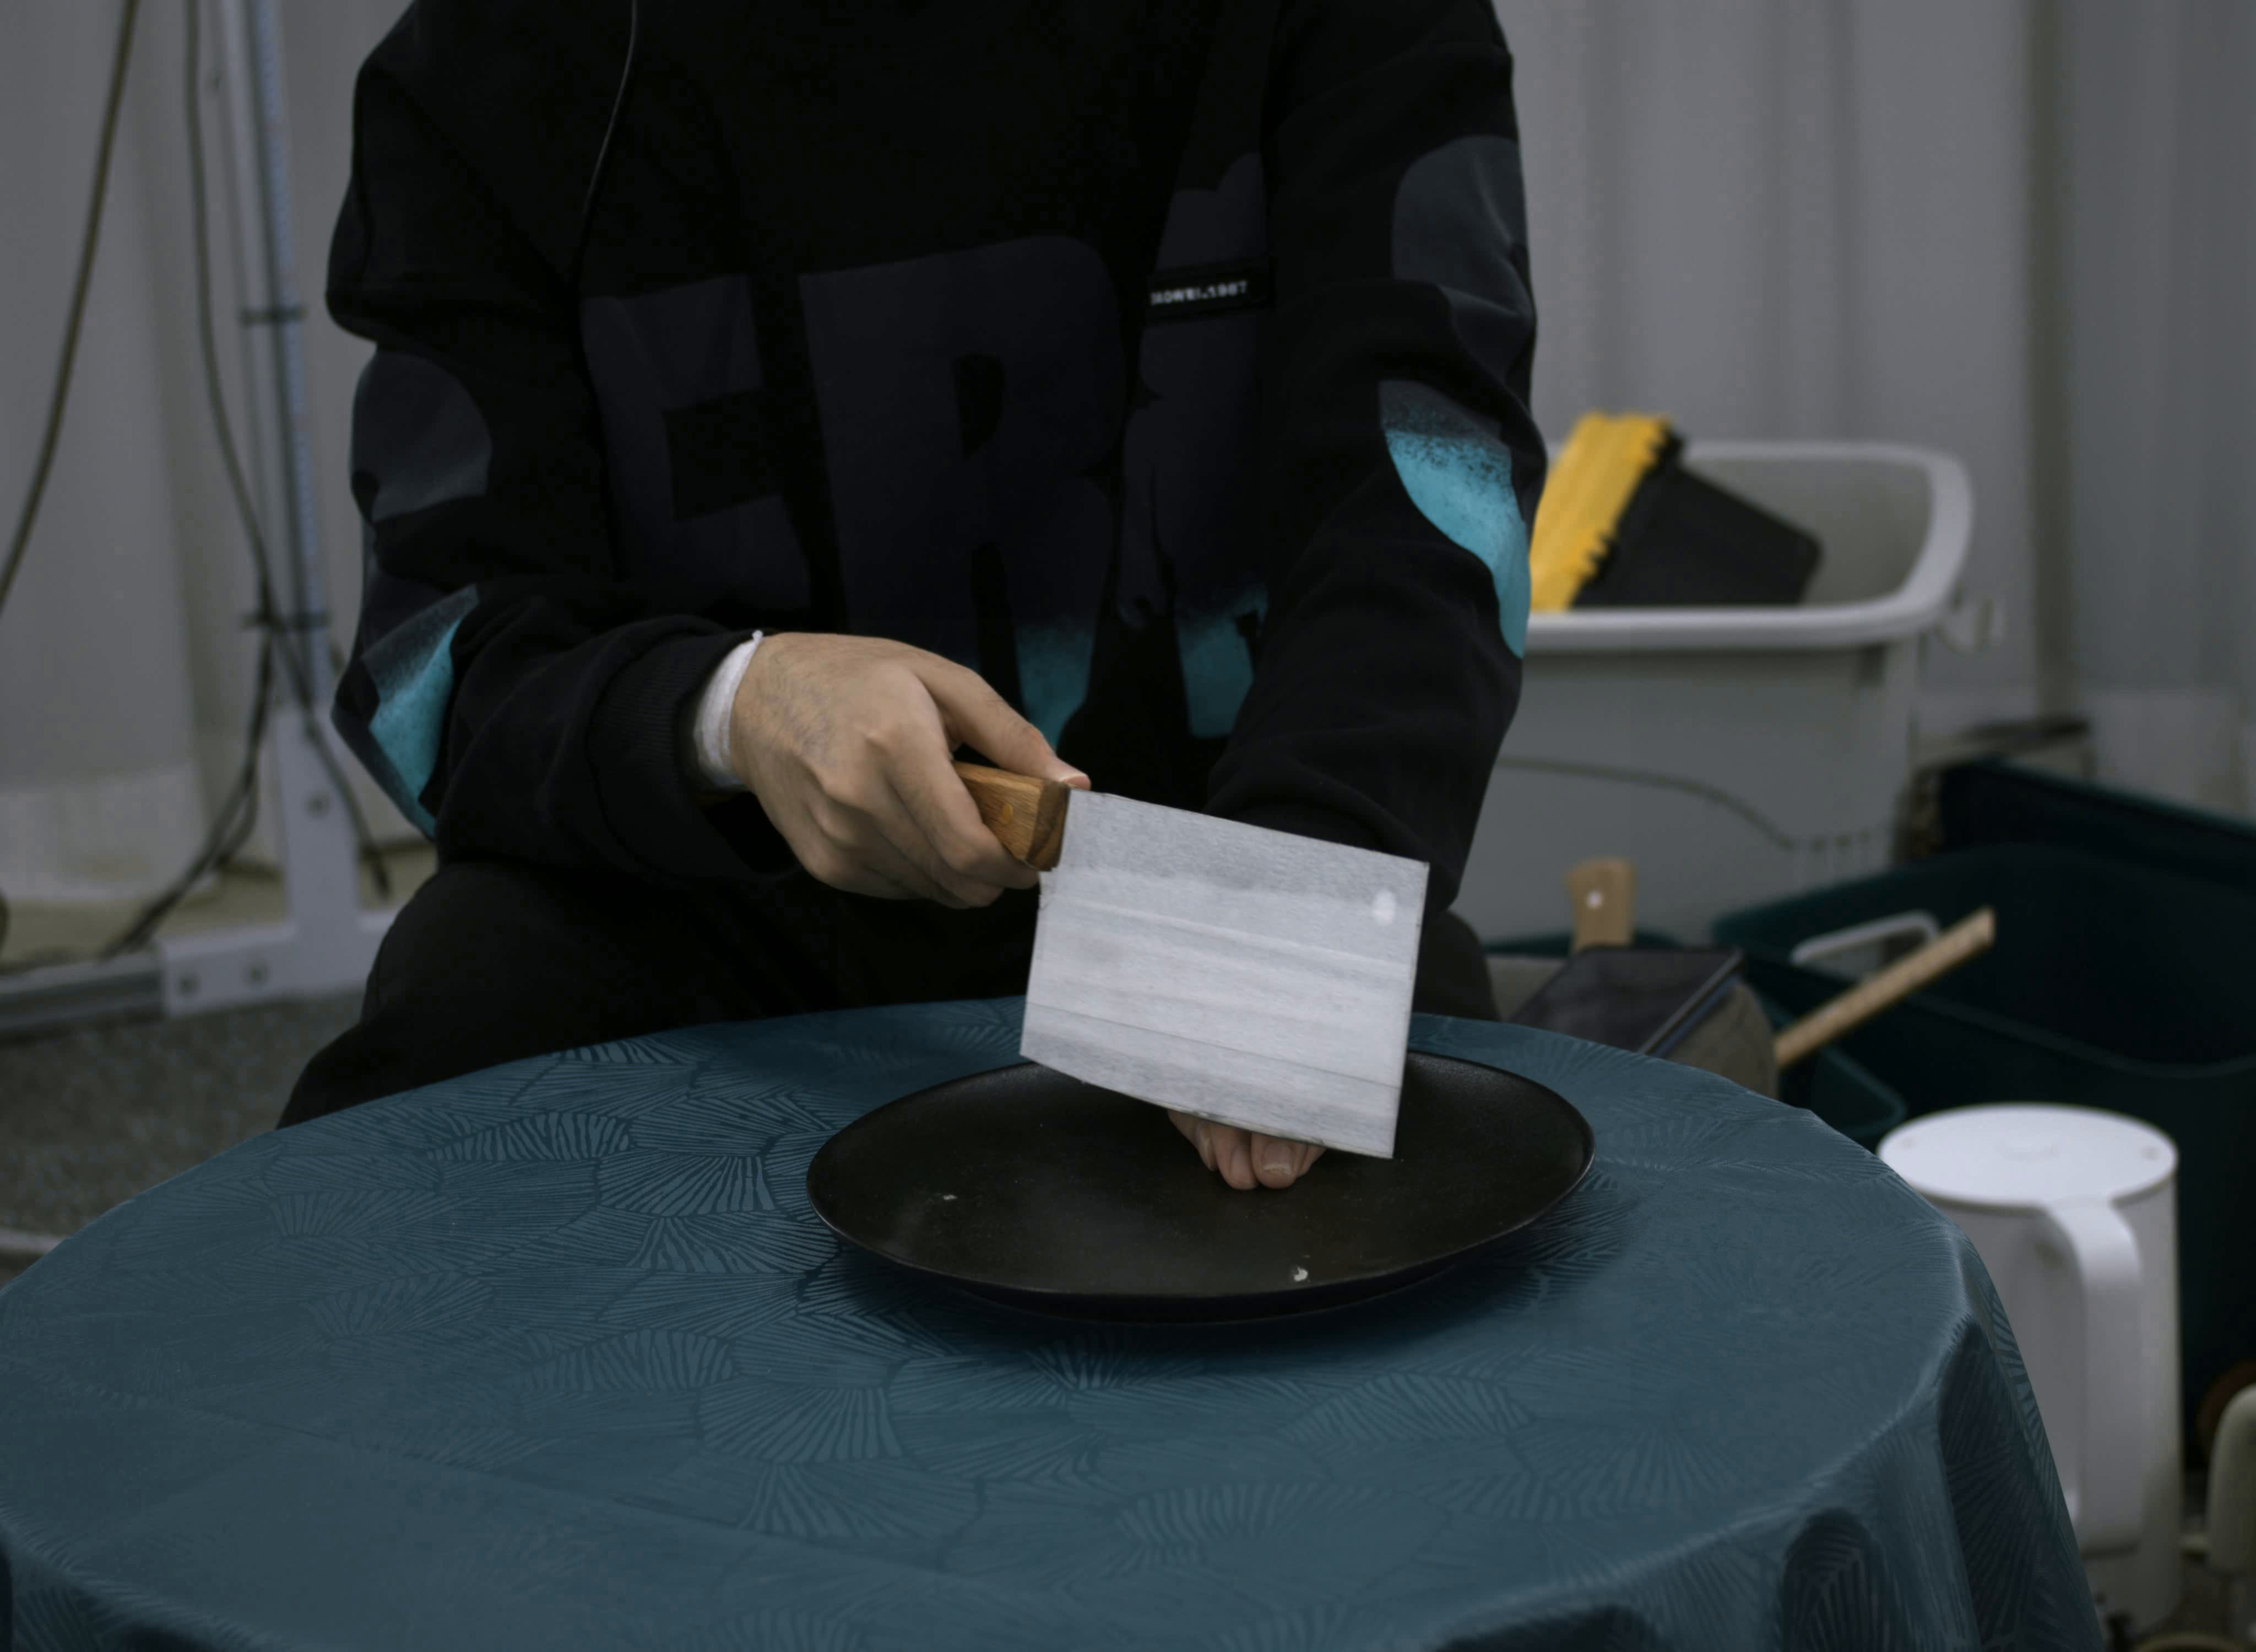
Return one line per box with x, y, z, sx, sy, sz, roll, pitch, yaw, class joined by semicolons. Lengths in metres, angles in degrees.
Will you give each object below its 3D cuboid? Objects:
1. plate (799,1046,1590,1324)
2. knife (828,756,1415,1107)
0.021;0.111;1.677;0.243;0.023;0.246;-3;15;1;plate
-0.008;0.033;1.723;0.021;0.093;0.307;5;4;-37;knife
